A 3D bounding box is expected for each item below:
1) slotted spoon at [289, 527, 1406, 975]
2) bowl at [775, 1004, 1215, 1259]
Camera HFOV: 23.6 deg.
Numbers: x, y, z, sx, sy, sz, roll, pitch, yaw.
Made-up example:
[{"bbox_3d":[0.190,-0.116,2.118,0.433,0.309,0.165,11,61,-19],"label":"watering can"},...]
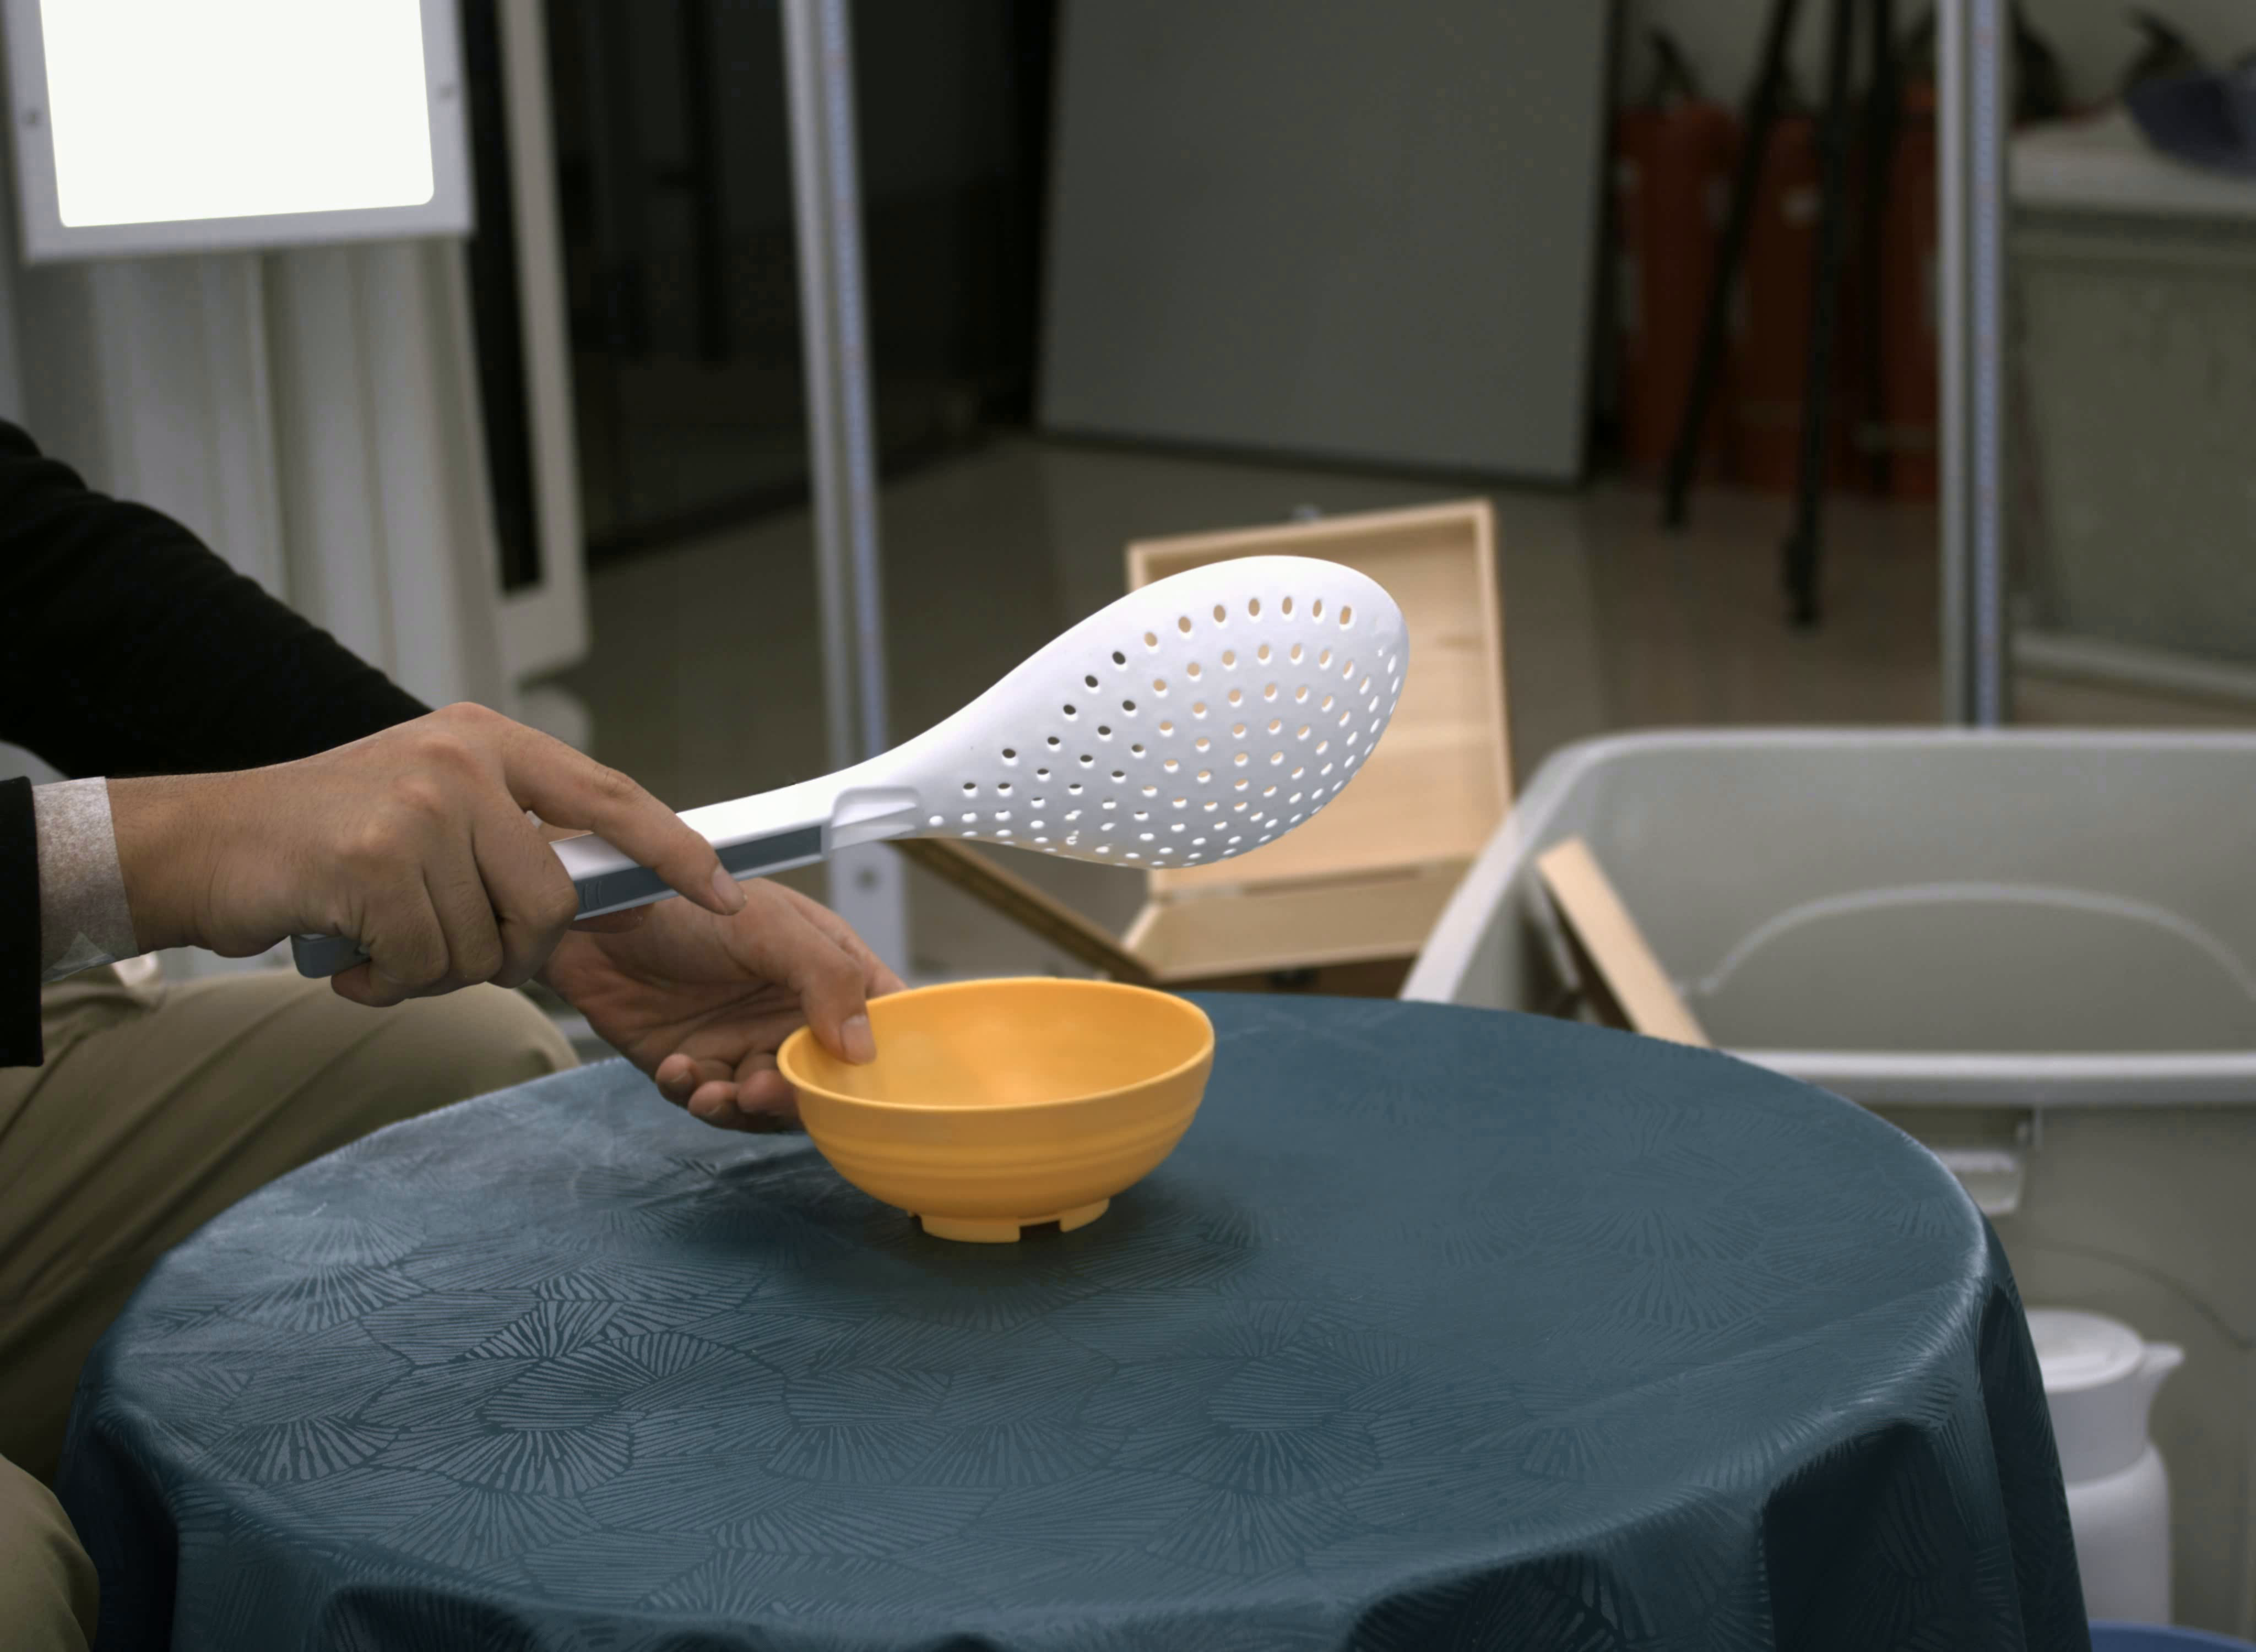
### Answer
[{"bbox_3d":[-0.078,-0.010,1.602,0.344,0.136,0.046,-10,52,-8],"label":"slotted spoon"},{"bbox_3d":[-0.041,0.103,1.752,0.143,0.061,0.145,-6,11,0],"label":"bowl"}]
